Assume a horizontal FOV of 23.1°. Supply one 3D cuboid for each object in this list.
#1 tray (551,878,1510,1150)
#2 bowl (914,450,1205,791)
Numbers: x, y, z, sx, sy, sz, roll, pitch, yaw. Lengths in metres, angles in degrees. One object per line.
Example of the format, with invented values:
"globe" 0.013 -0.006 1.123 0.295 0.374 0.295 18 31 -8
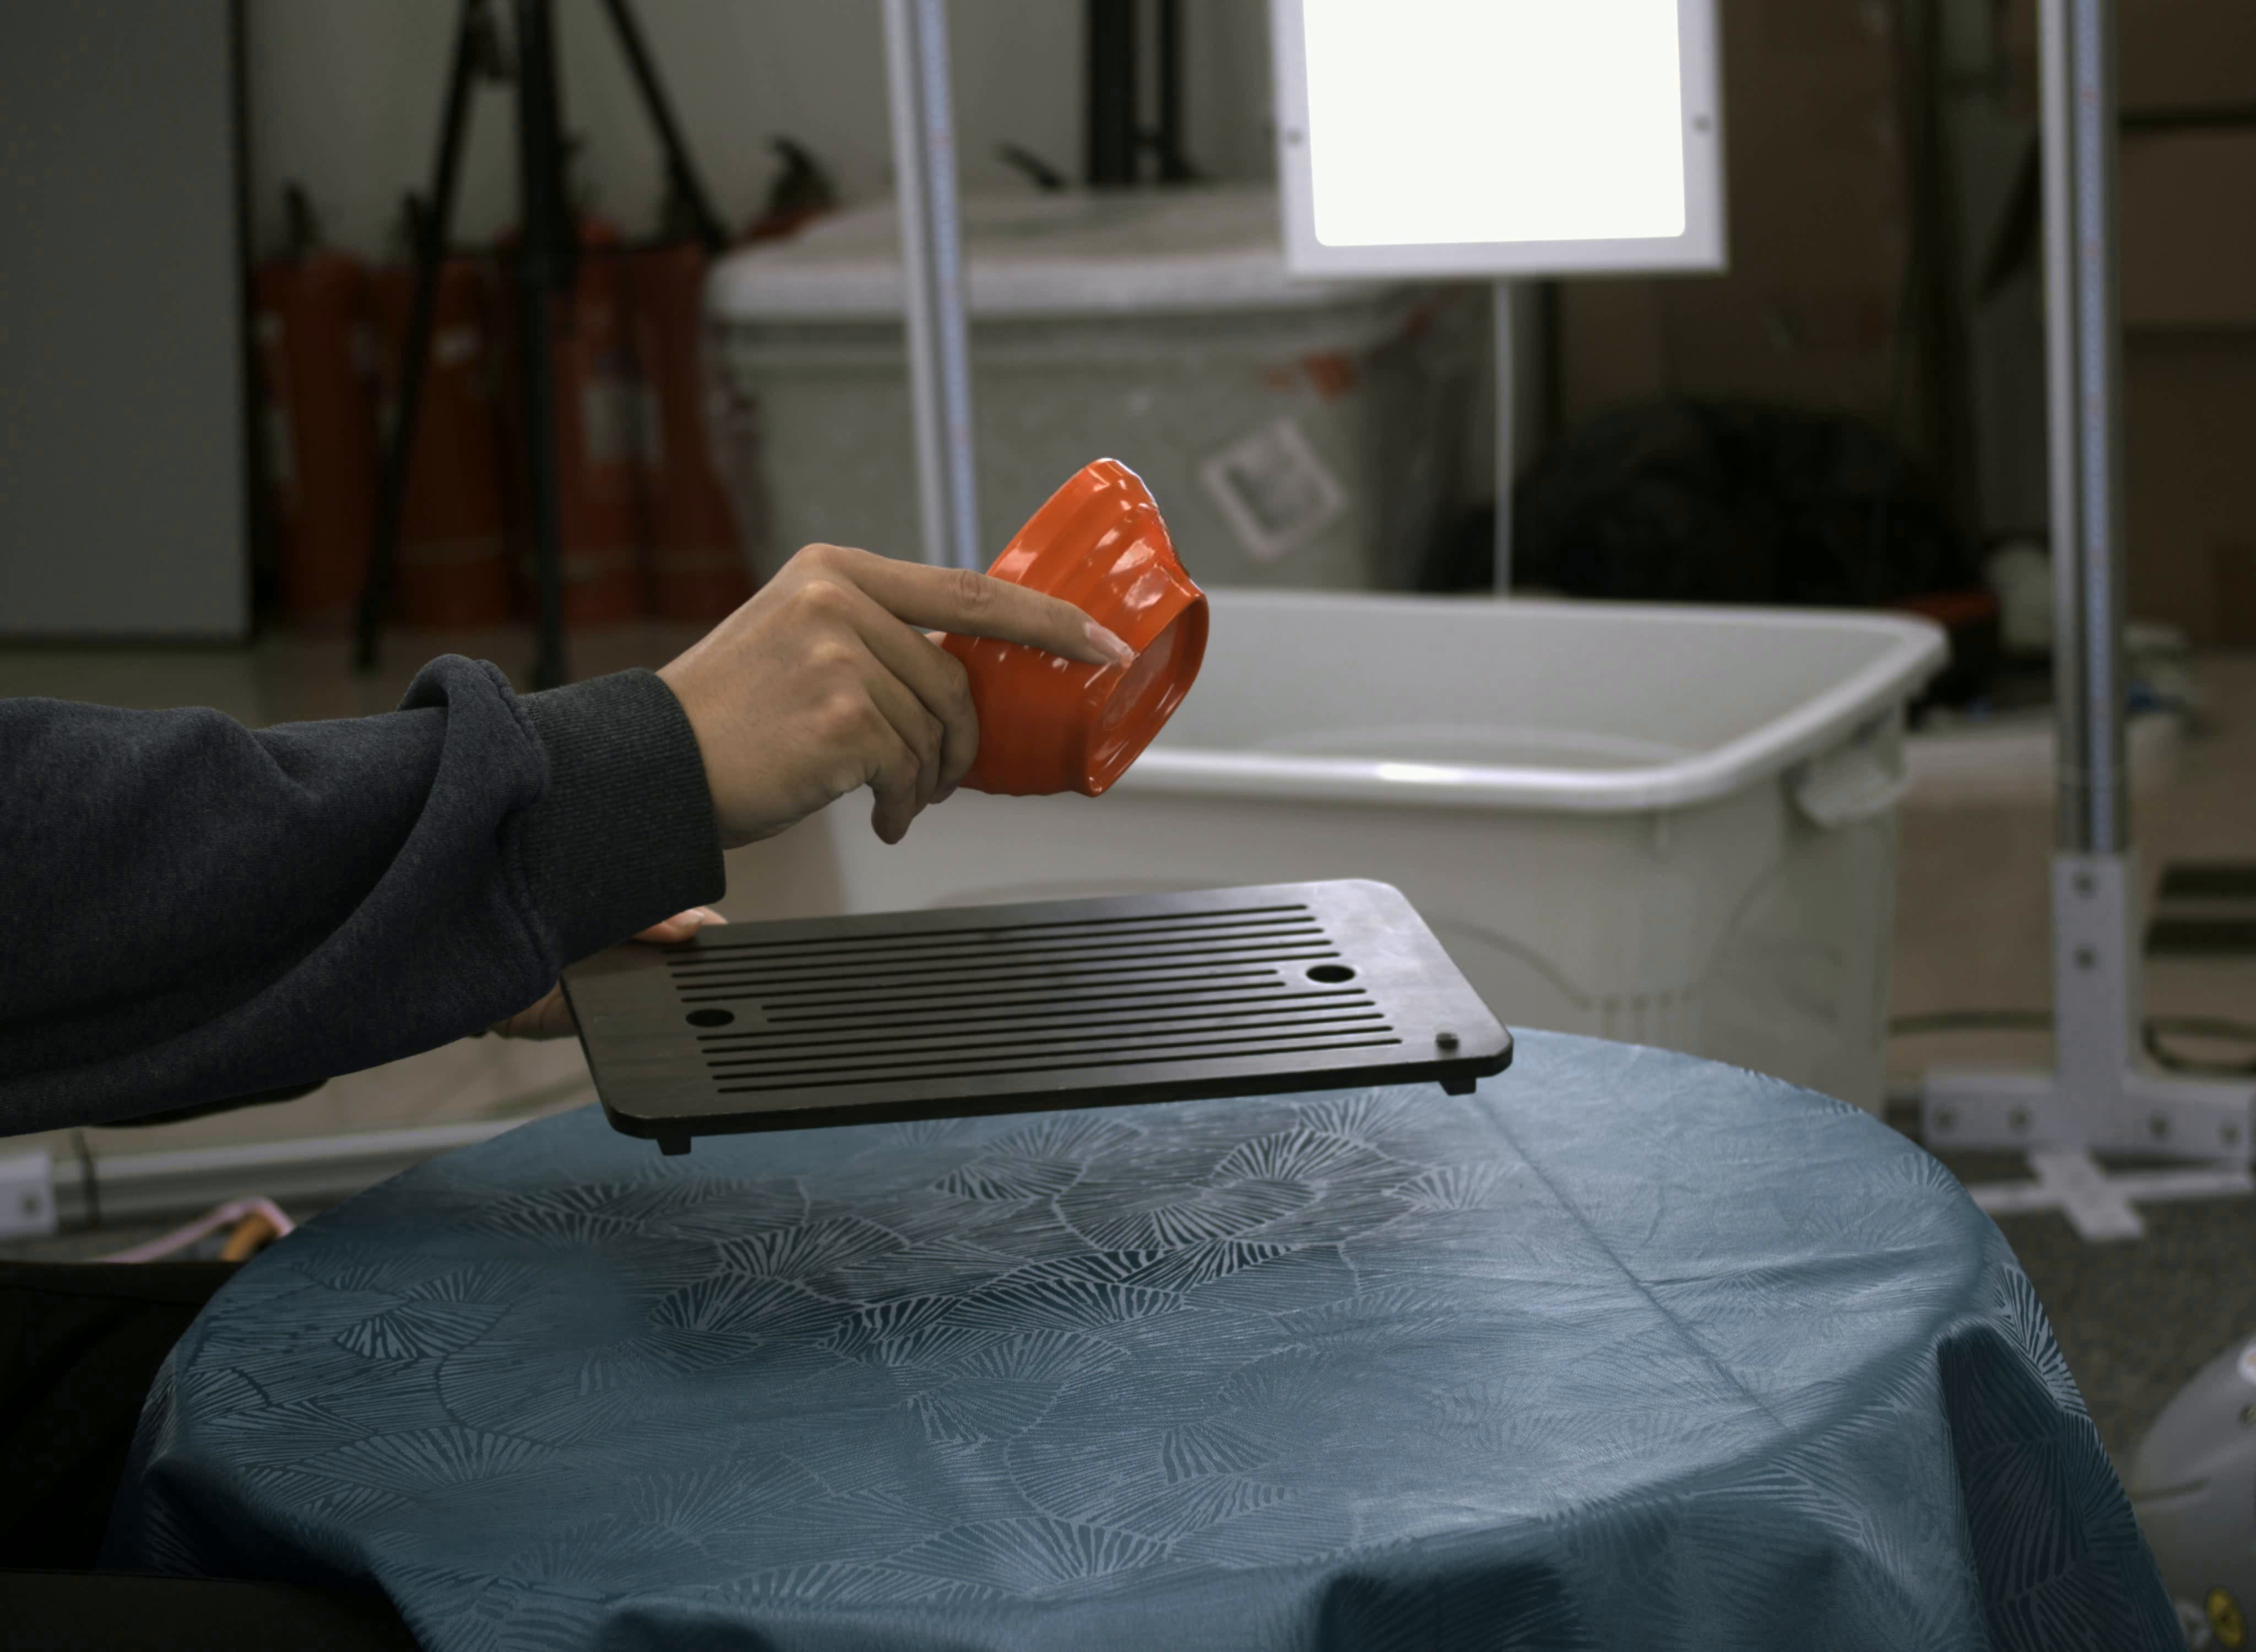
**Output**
"tray" -0.036 0.063 1.869 0.302 0.019 0.171 -4 20 -10
"bowl" -0.015 -0.055 1.735 0.052 0.120 0.116 35 27 15
